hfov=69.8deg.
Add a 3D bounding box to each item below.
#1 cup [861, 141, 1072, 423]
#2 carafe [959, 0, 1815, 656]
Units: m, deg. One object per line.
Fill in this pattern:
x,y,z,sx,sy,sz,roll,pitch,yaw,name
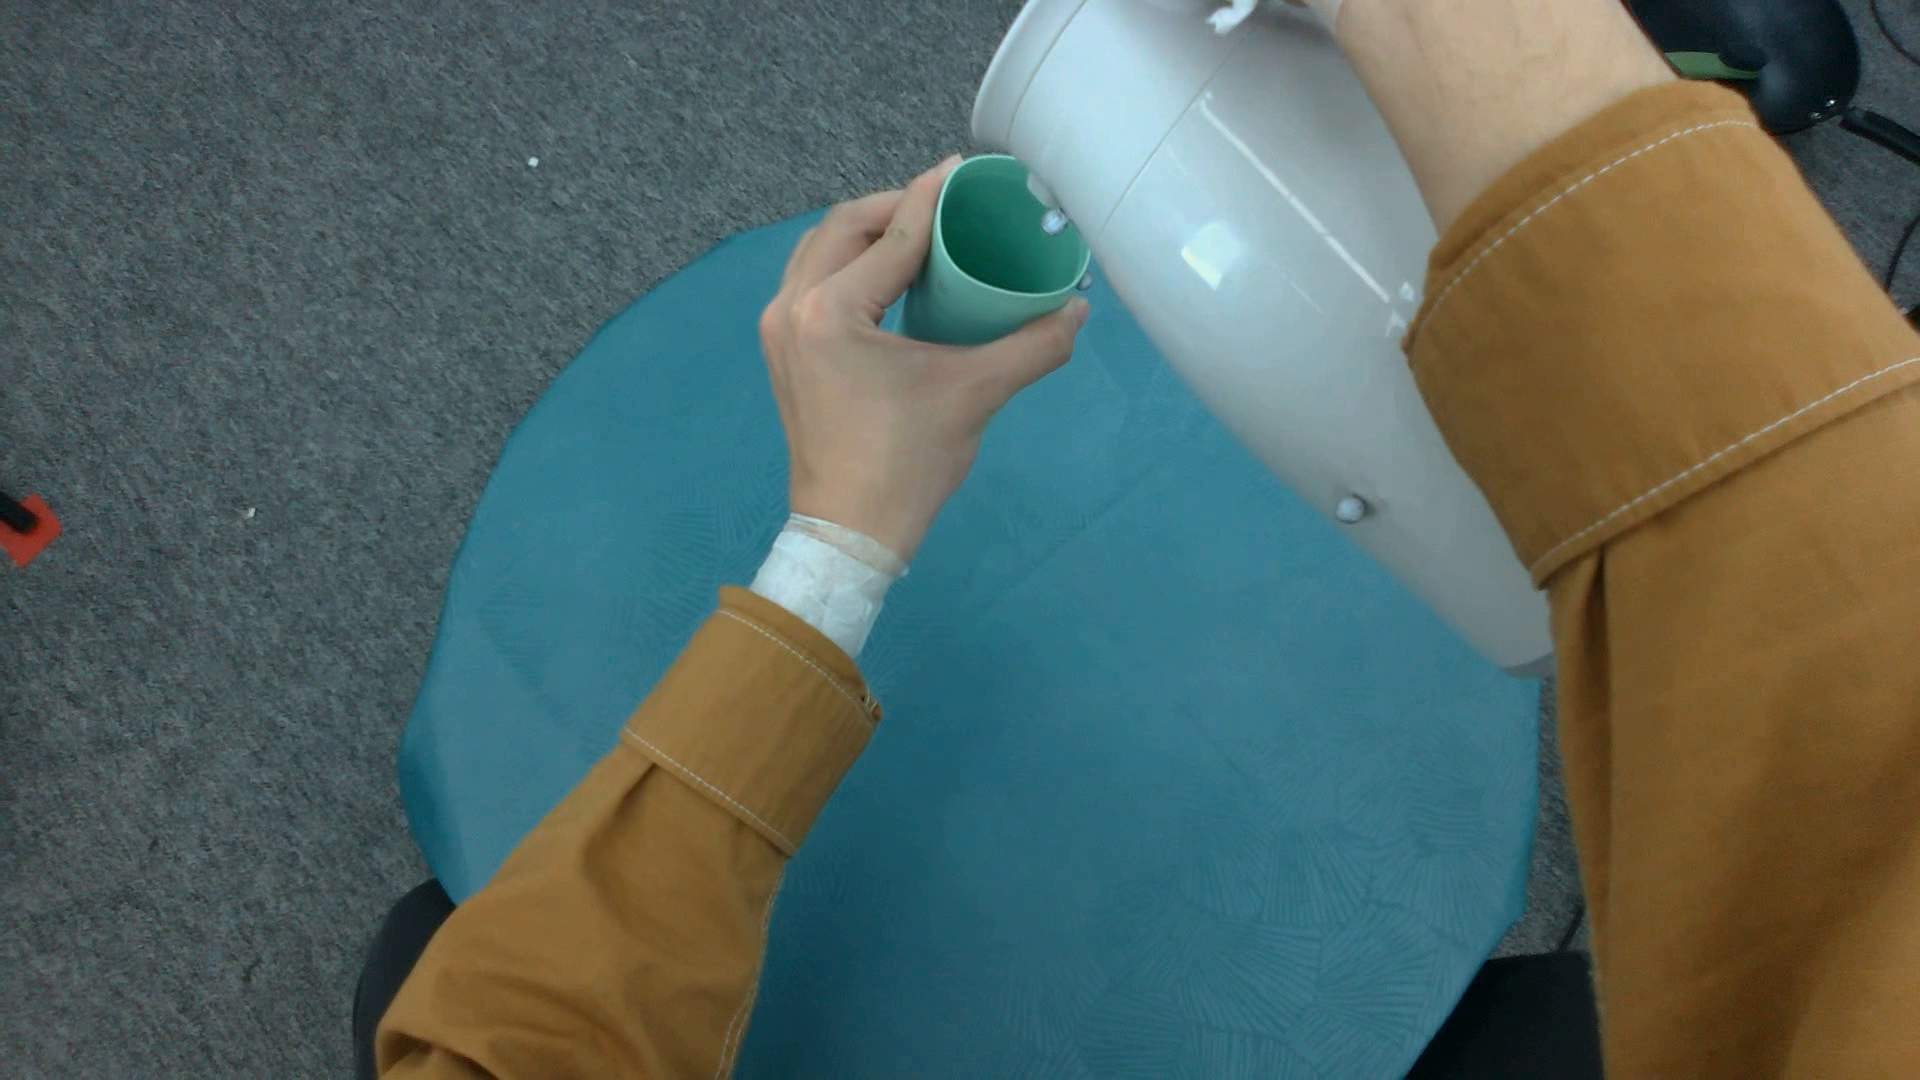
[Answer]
-0.002,-0.105,0.594,0.067,0.132,0.067,5,68,-13,cup
0.123,-0.102,0.420,0.248,0.167,0.133,42,61,5,carafe
